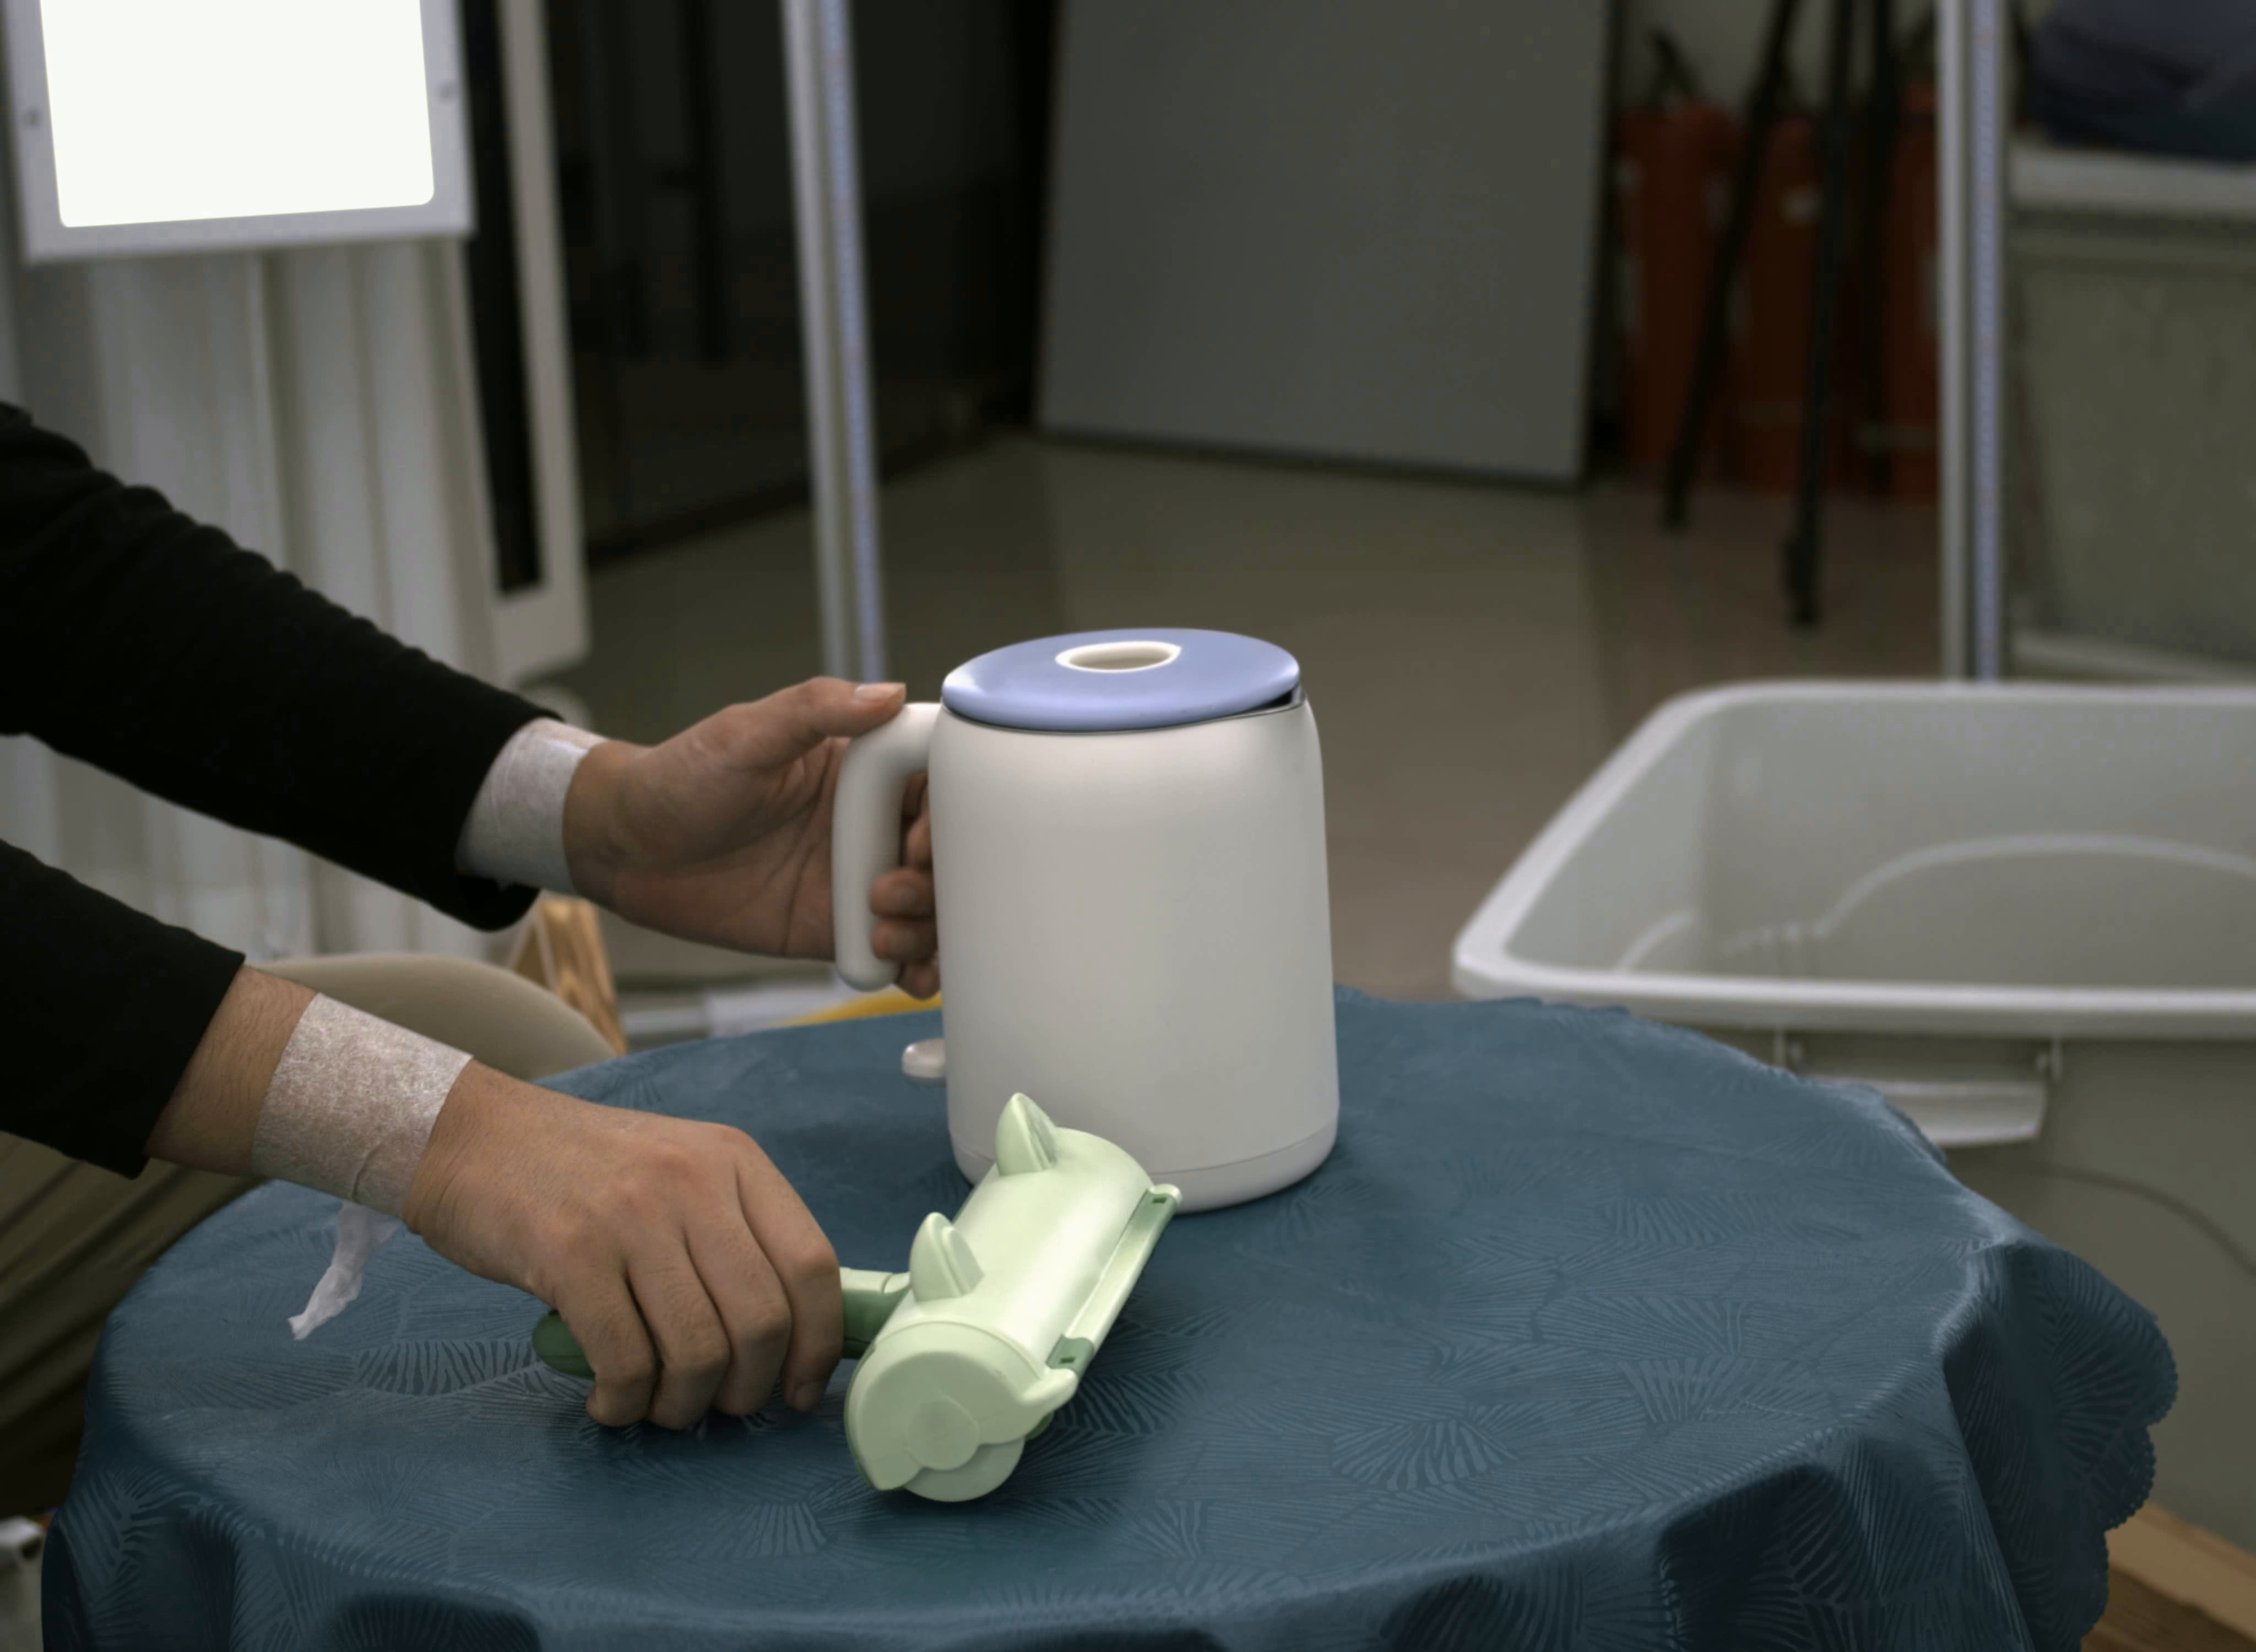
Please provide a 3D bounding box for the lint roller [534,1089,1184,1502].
[{"bbox_3d":[-0.088,0.131,1.590,0.182,0.083,0.197,3,14,11],"label":"lint roller"}]

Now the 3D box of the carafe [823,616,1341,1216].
[{"bbox_3d":[-0.019,0.029,1.790,0.192,0.184,0.130,2,14,31],"label":"carafe"}]
